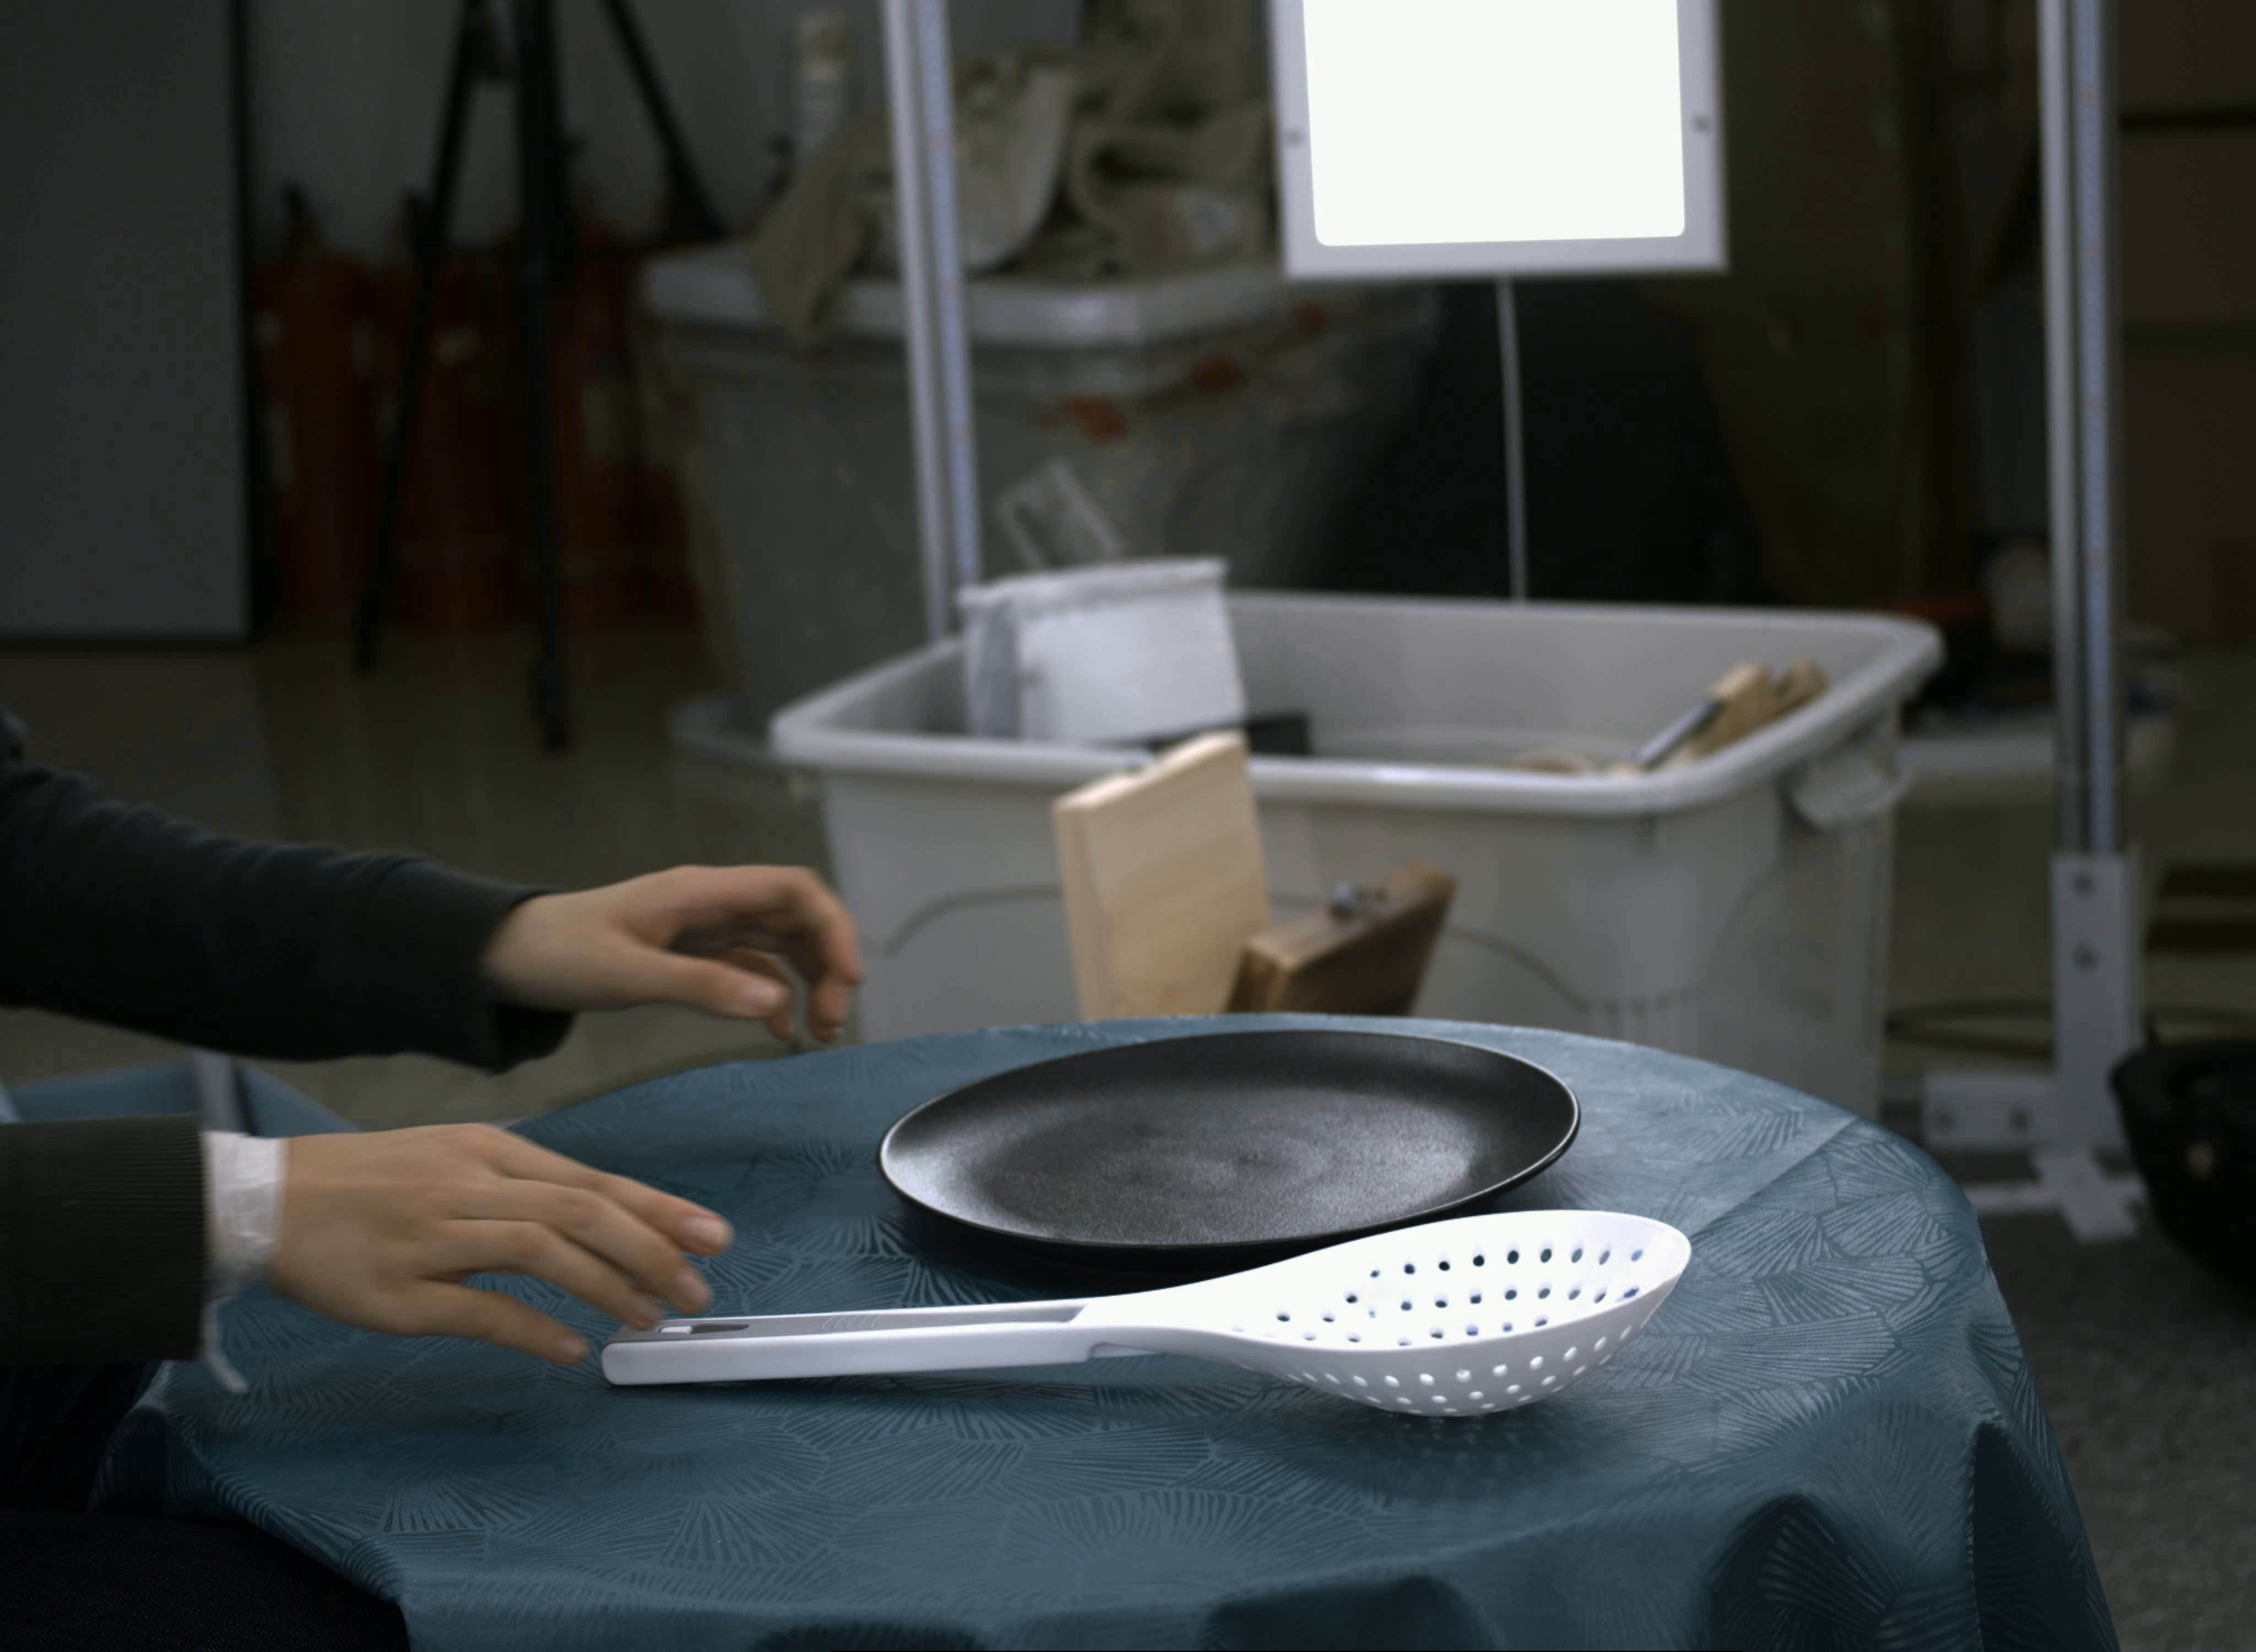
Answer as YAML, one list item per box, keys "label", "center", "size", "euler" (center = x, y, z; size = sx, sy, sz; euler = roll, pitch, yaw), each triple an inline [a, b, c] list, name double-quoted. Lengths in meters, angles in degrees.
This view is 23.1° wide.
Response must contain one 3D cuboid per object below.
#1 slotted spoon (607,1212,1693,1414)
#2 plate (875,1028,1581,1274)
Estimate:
- label: "slotted spoon"
  center: [0.002, 0.153, 1.694]
  size: [0.354, 0.046, 0.134]
  euler: [-1, 12, 20]
- label: "plate"
  center: [0.035, 0.114, 1.887]
  size: [0.244, 0.023, 0.244]
  euler: [-5, 14, 0]
